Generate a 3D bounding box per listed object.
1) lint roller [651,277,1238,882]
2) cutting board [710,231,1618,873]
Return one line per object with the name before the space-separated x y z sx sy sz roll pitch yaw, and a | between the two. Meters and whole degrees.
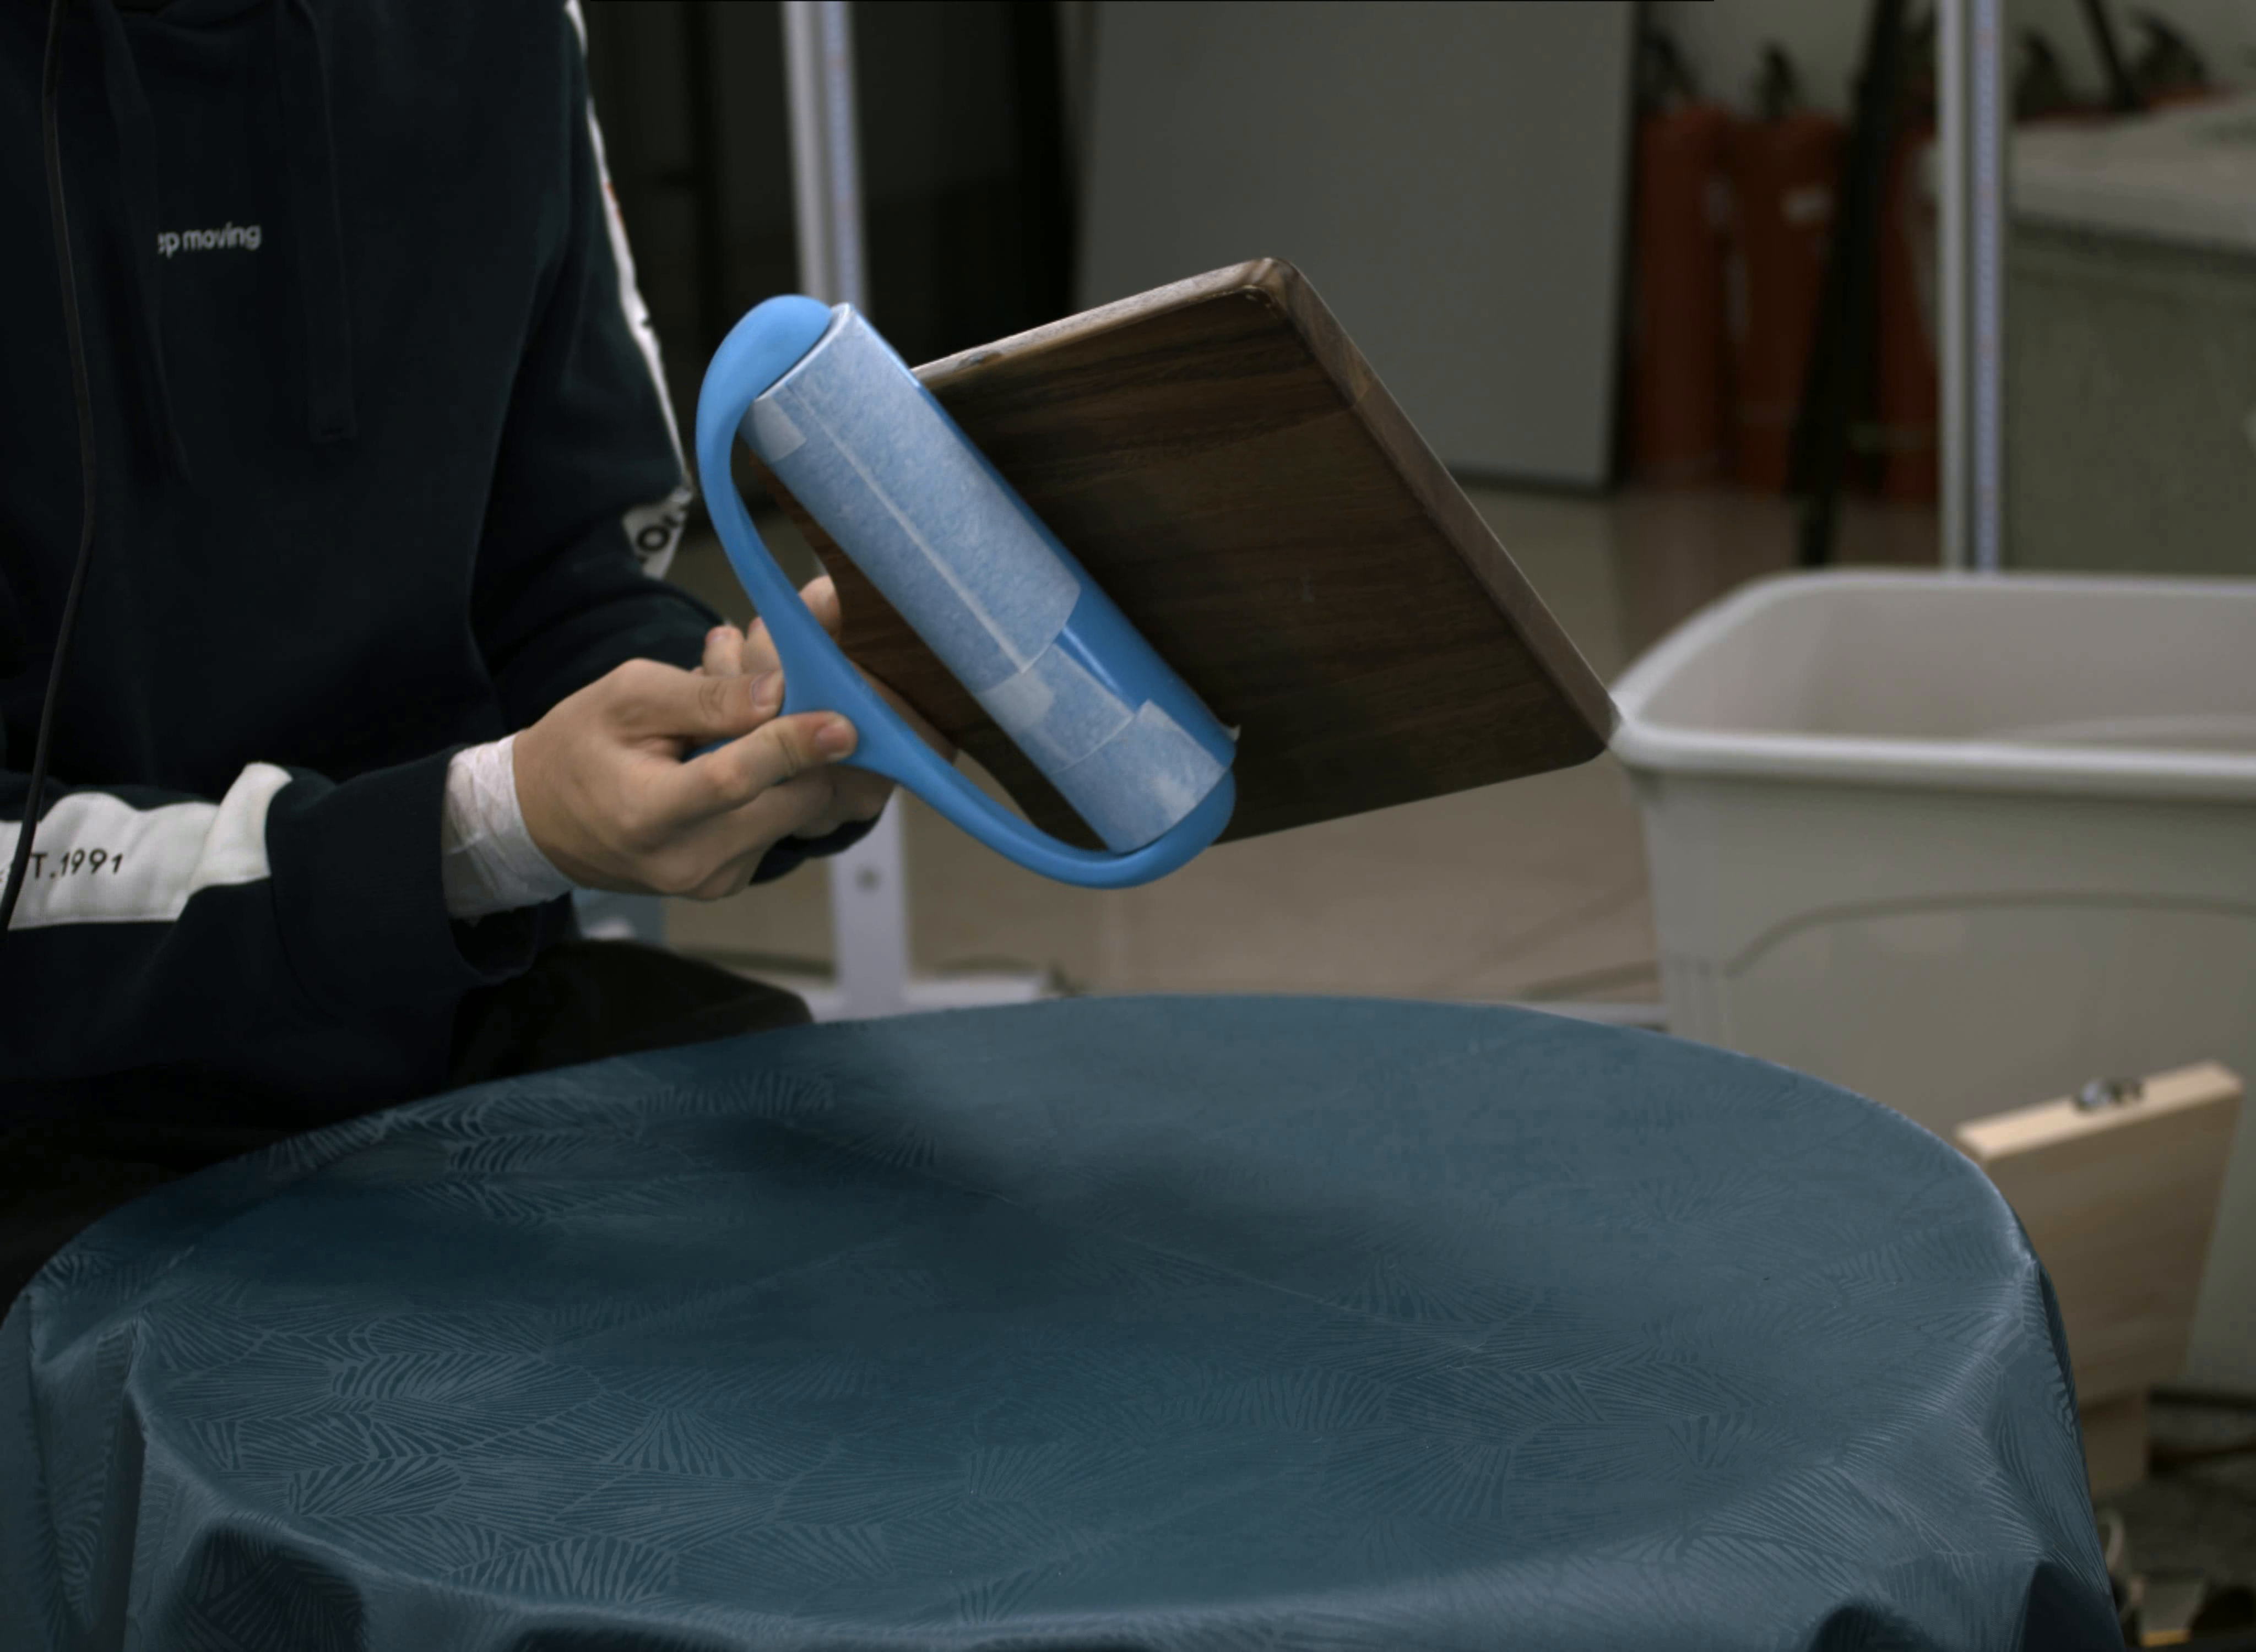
lint roller | -0.089 -0.046 1.731 0.181 0.227 0.068 -38 15 24
cutting board | -0.018 -0.073 1.756 0.355 0.200 0.023 -14 30 47
